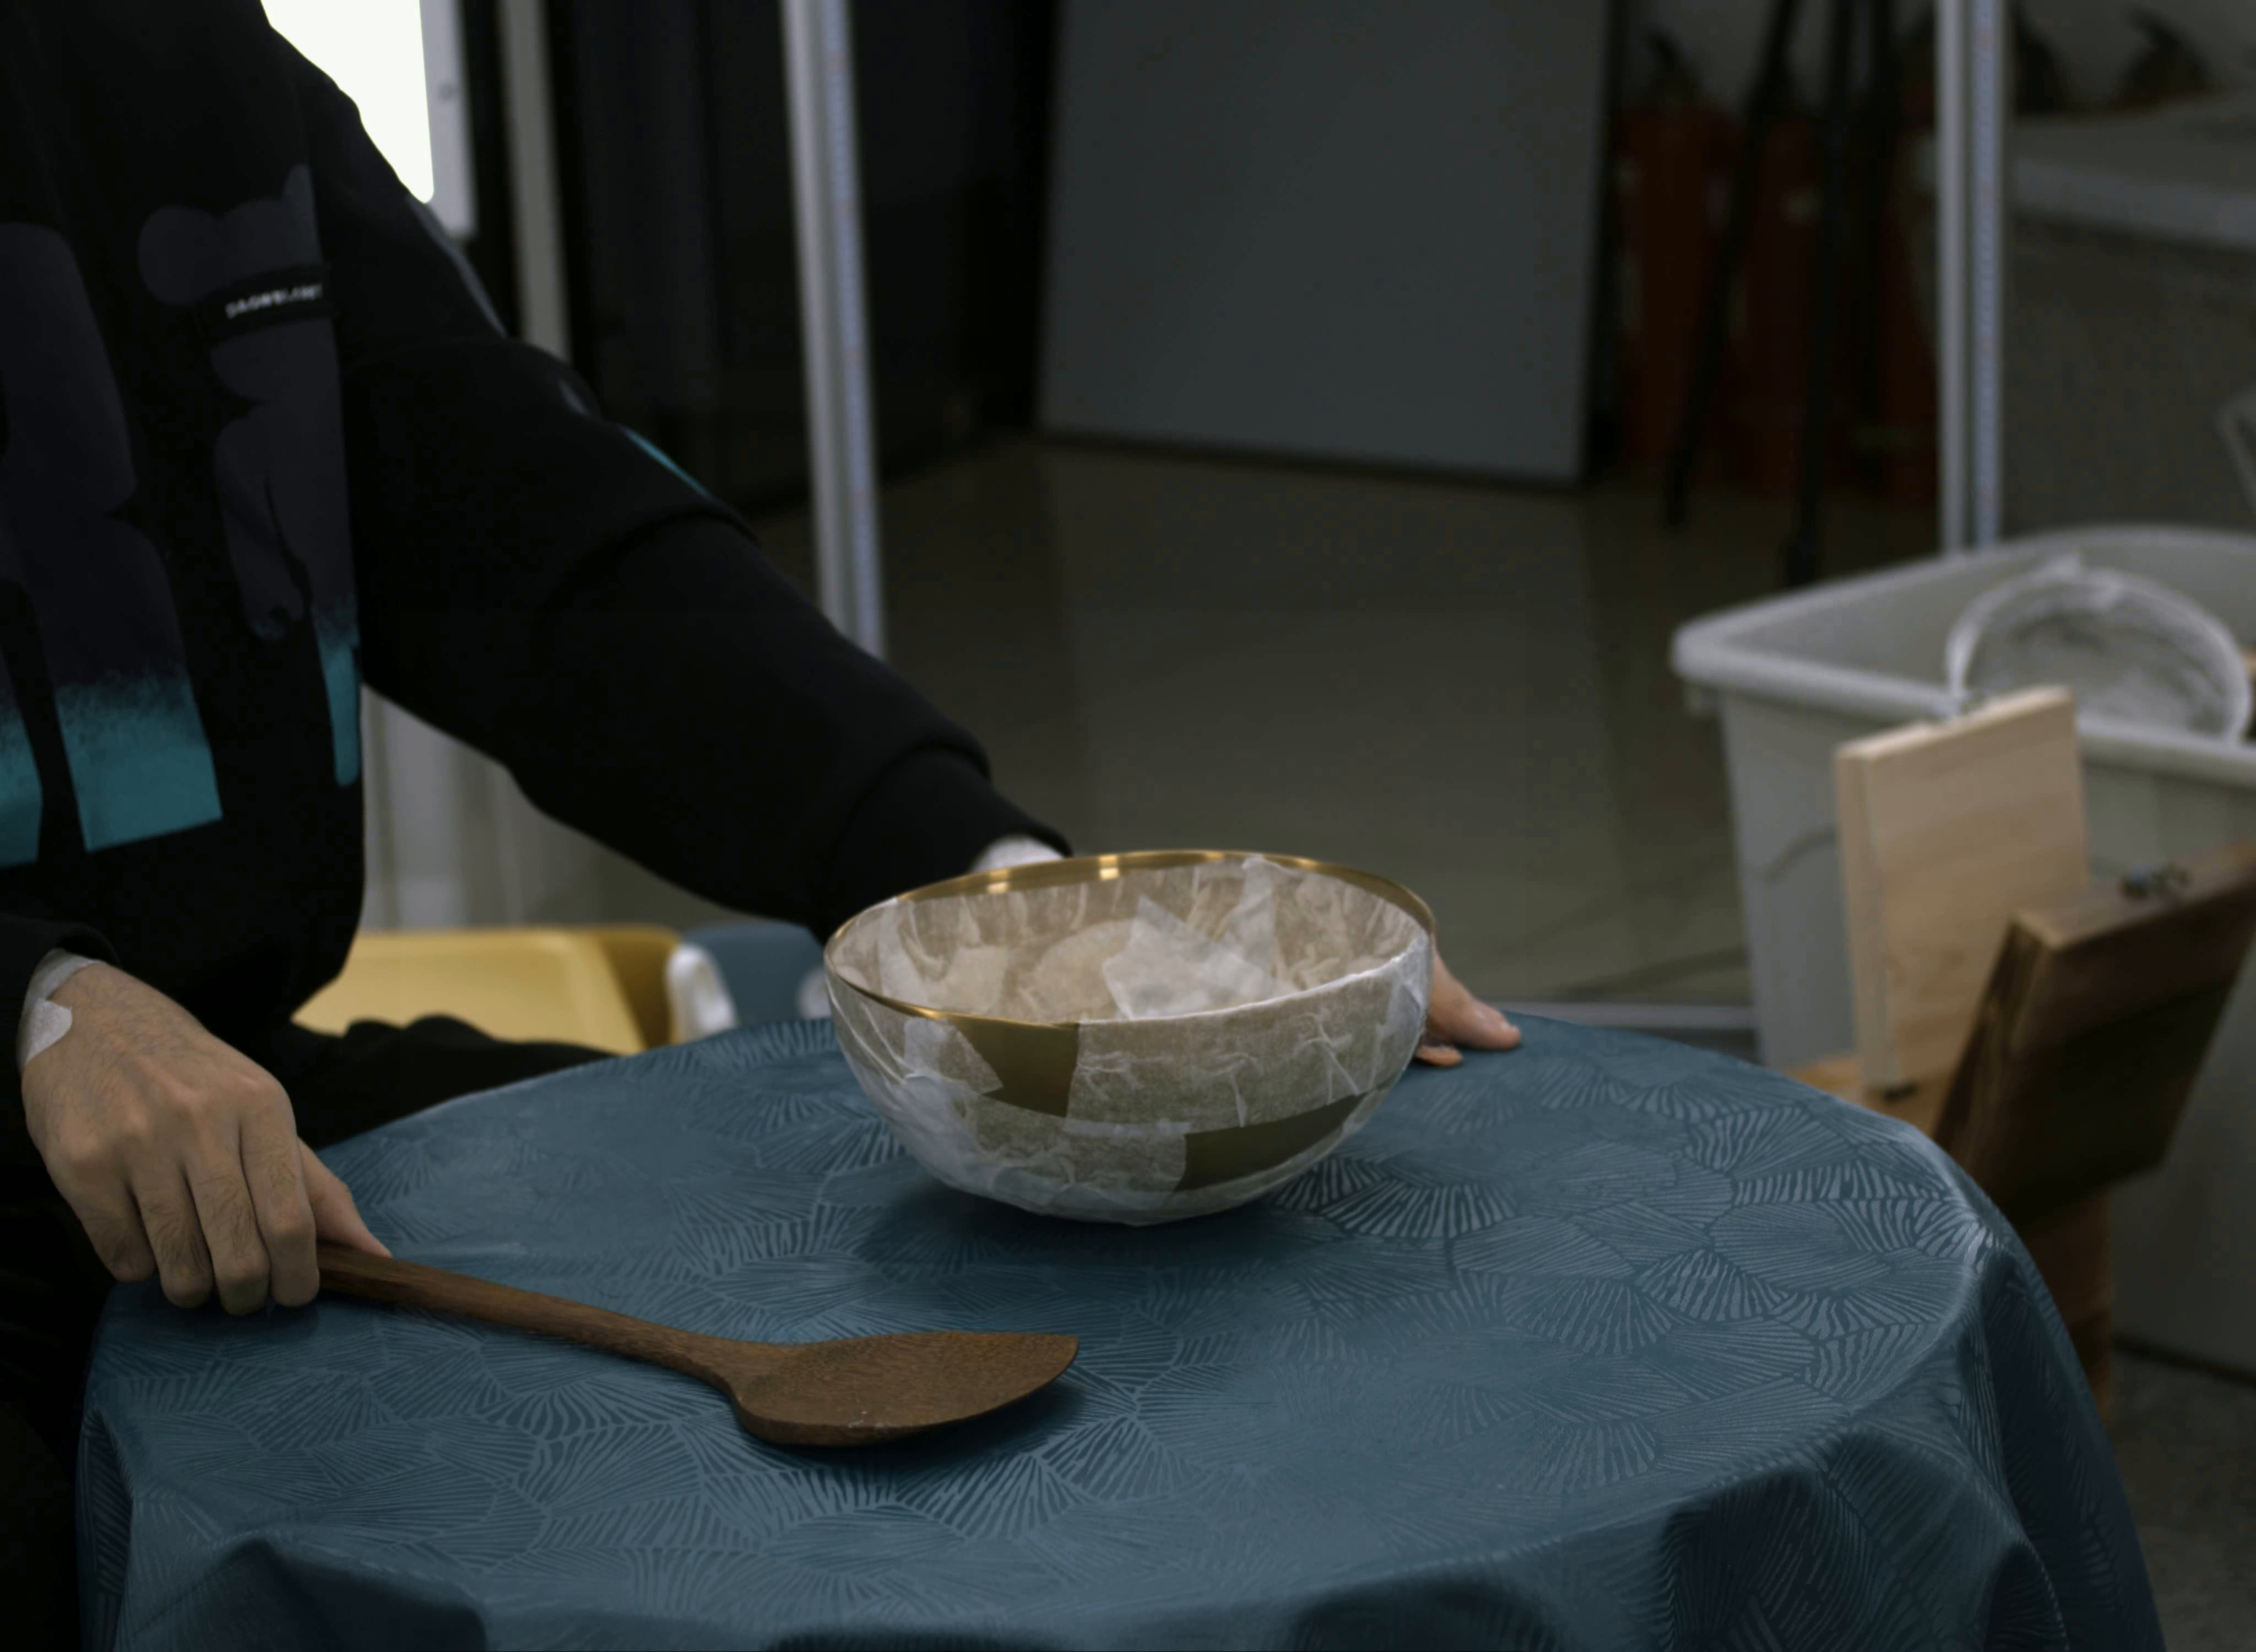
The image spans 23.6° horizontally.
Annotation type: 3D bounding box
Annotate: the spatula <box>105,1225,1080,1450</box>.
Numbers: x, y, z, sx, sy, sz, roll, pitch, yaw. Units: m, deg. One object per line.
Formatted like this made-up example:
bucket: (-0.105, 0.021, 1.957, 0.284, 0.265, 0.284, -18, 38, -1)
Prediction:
spatula: (-0.182, 0.153, 1.670, 0.389, 0.016, 0.094, 6, 17, 38)

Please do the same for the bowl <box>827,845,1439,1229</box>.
bowl: (0.004, 0.075, 1.760, 0.212, 0.095, 0.215, -6, 14, 1)
